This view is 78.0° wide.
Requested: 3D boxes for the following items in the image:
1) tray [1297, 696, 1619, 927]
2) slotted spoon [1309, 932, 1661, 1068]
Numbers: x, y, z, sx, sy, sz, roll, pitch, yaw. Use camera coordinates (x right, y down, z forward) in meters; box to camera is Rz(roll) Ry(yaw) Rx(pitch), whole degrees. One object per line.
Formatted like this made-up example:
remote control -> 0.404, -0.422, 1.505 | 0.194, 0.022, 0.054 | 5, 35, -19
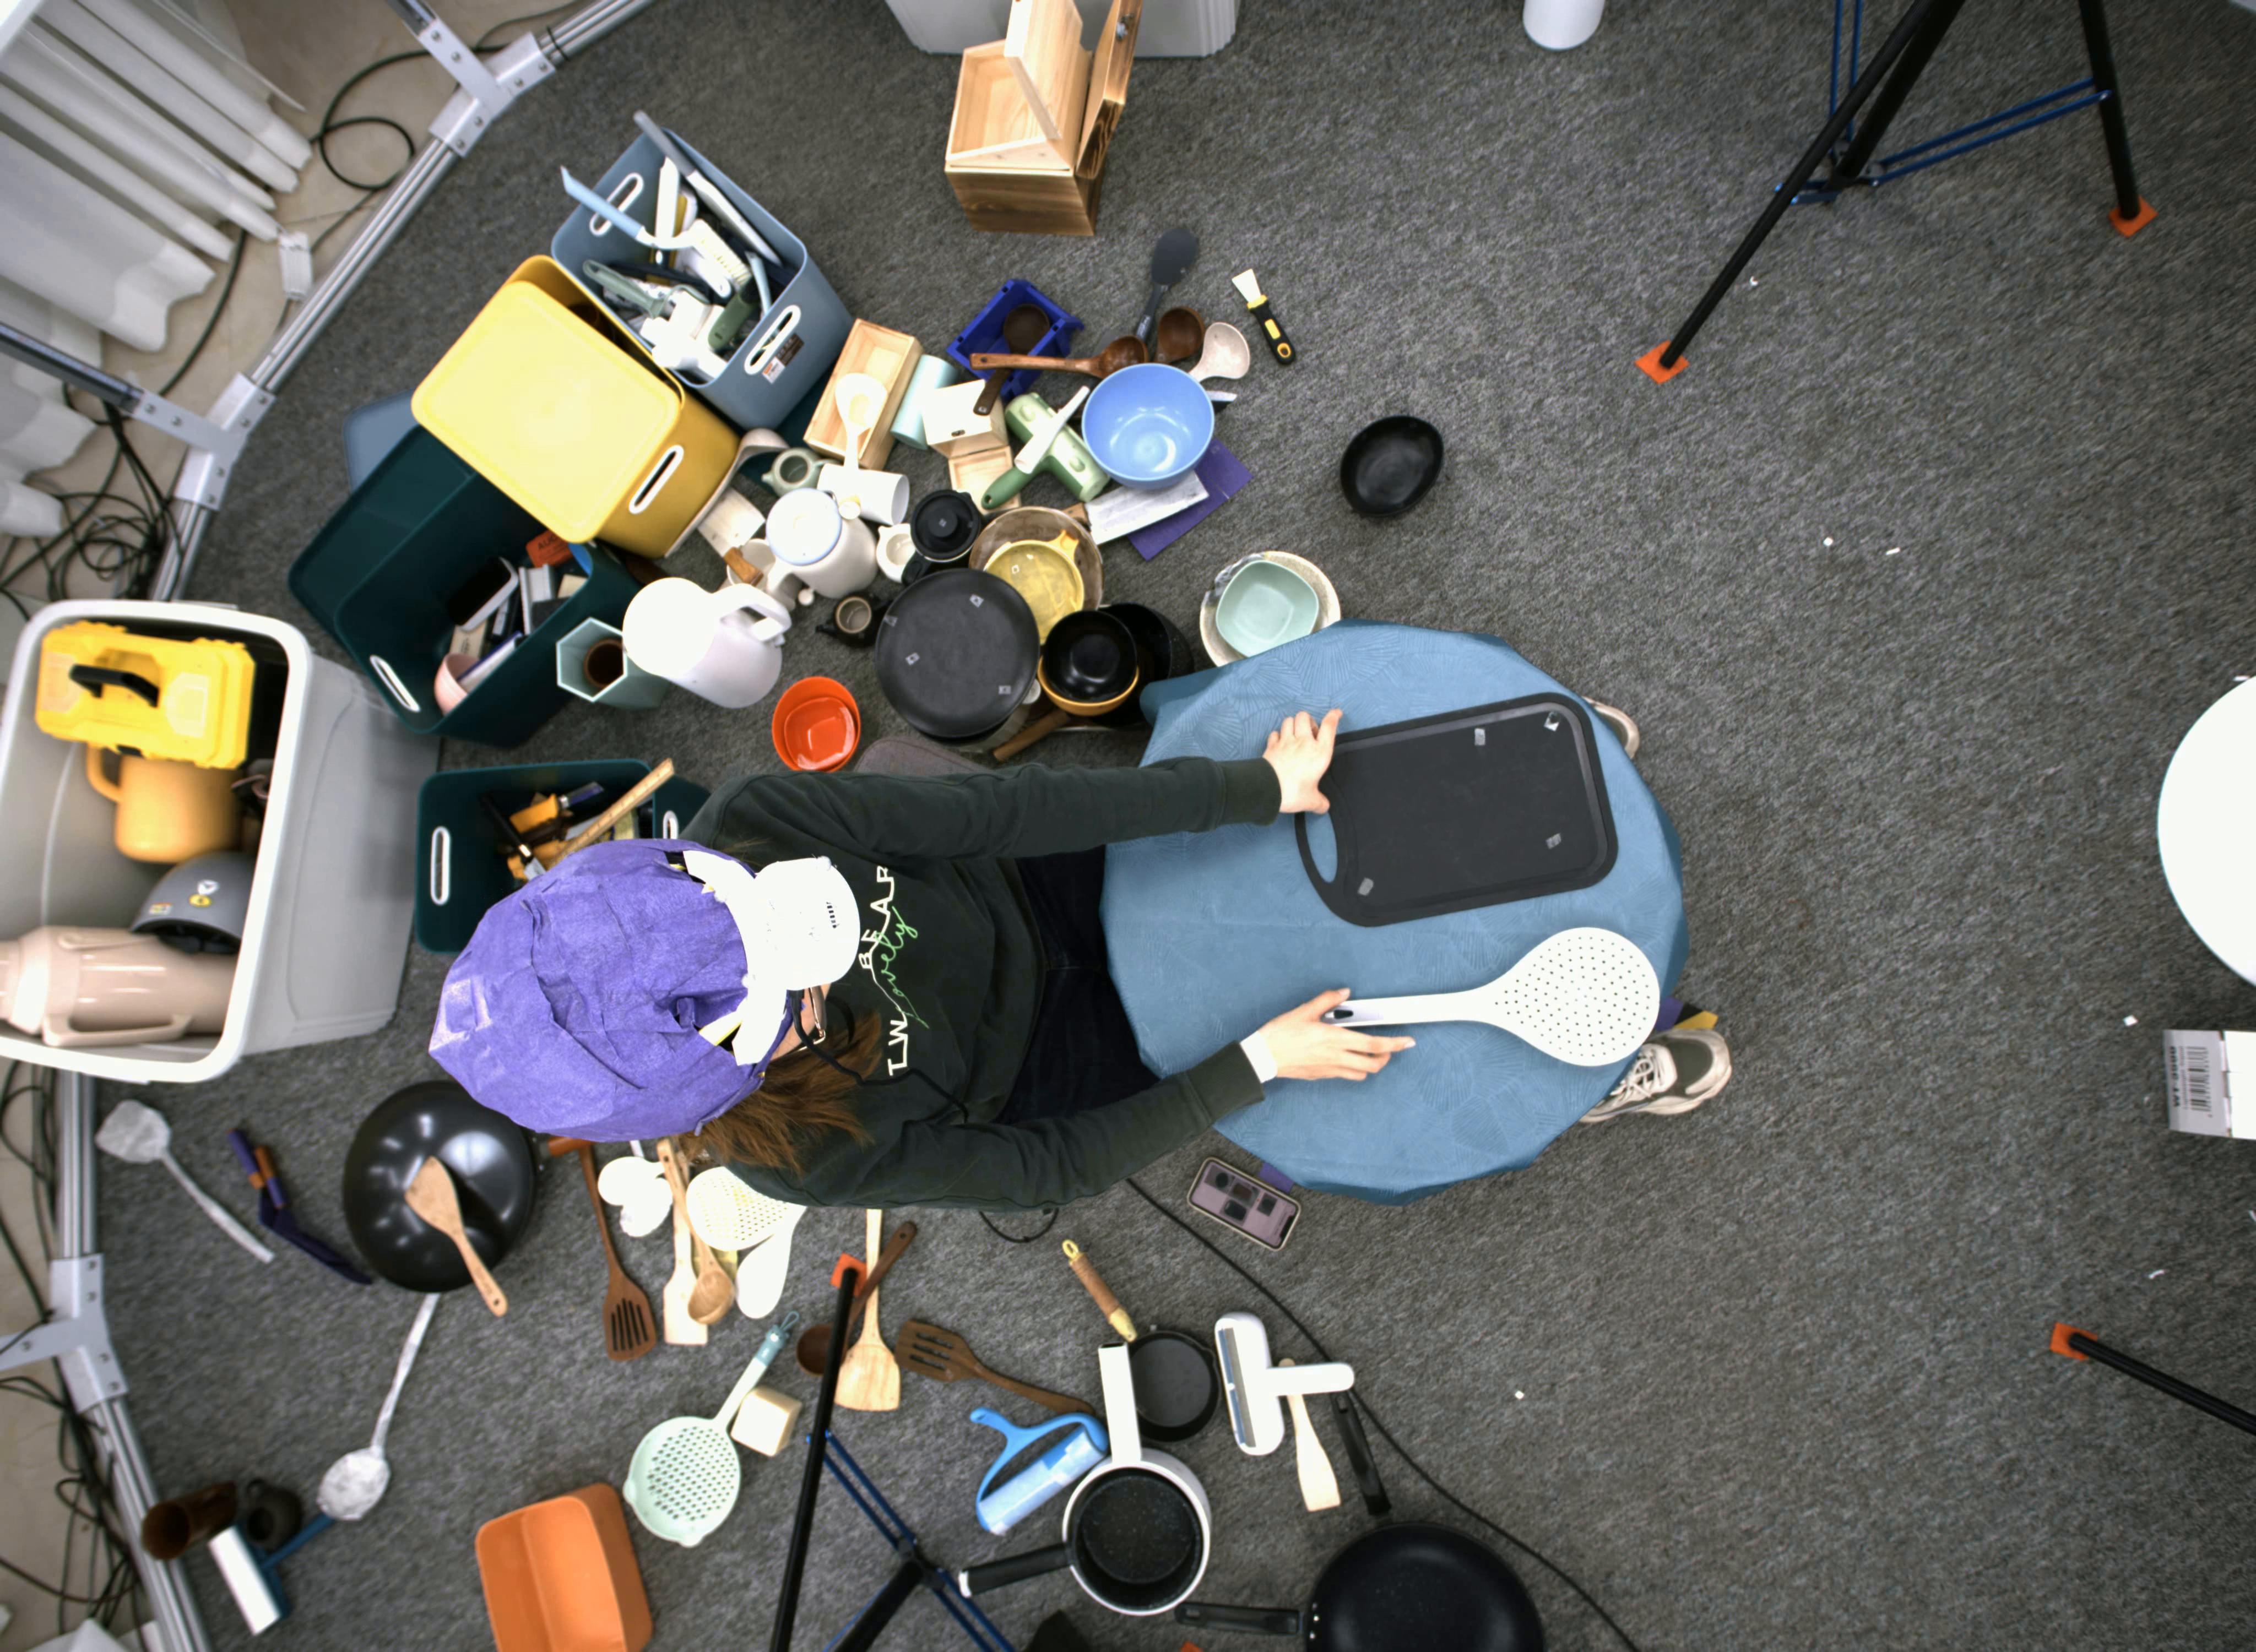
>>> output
tray -> 0.342, -0.014, 1.454 | 0.327, 0.010, 0.209 | -11, 84, 10
slotted spoon -> 0.362, 0.184, 1.417 | 0.351, 0.046, 0.135 | -5, 83, 11
